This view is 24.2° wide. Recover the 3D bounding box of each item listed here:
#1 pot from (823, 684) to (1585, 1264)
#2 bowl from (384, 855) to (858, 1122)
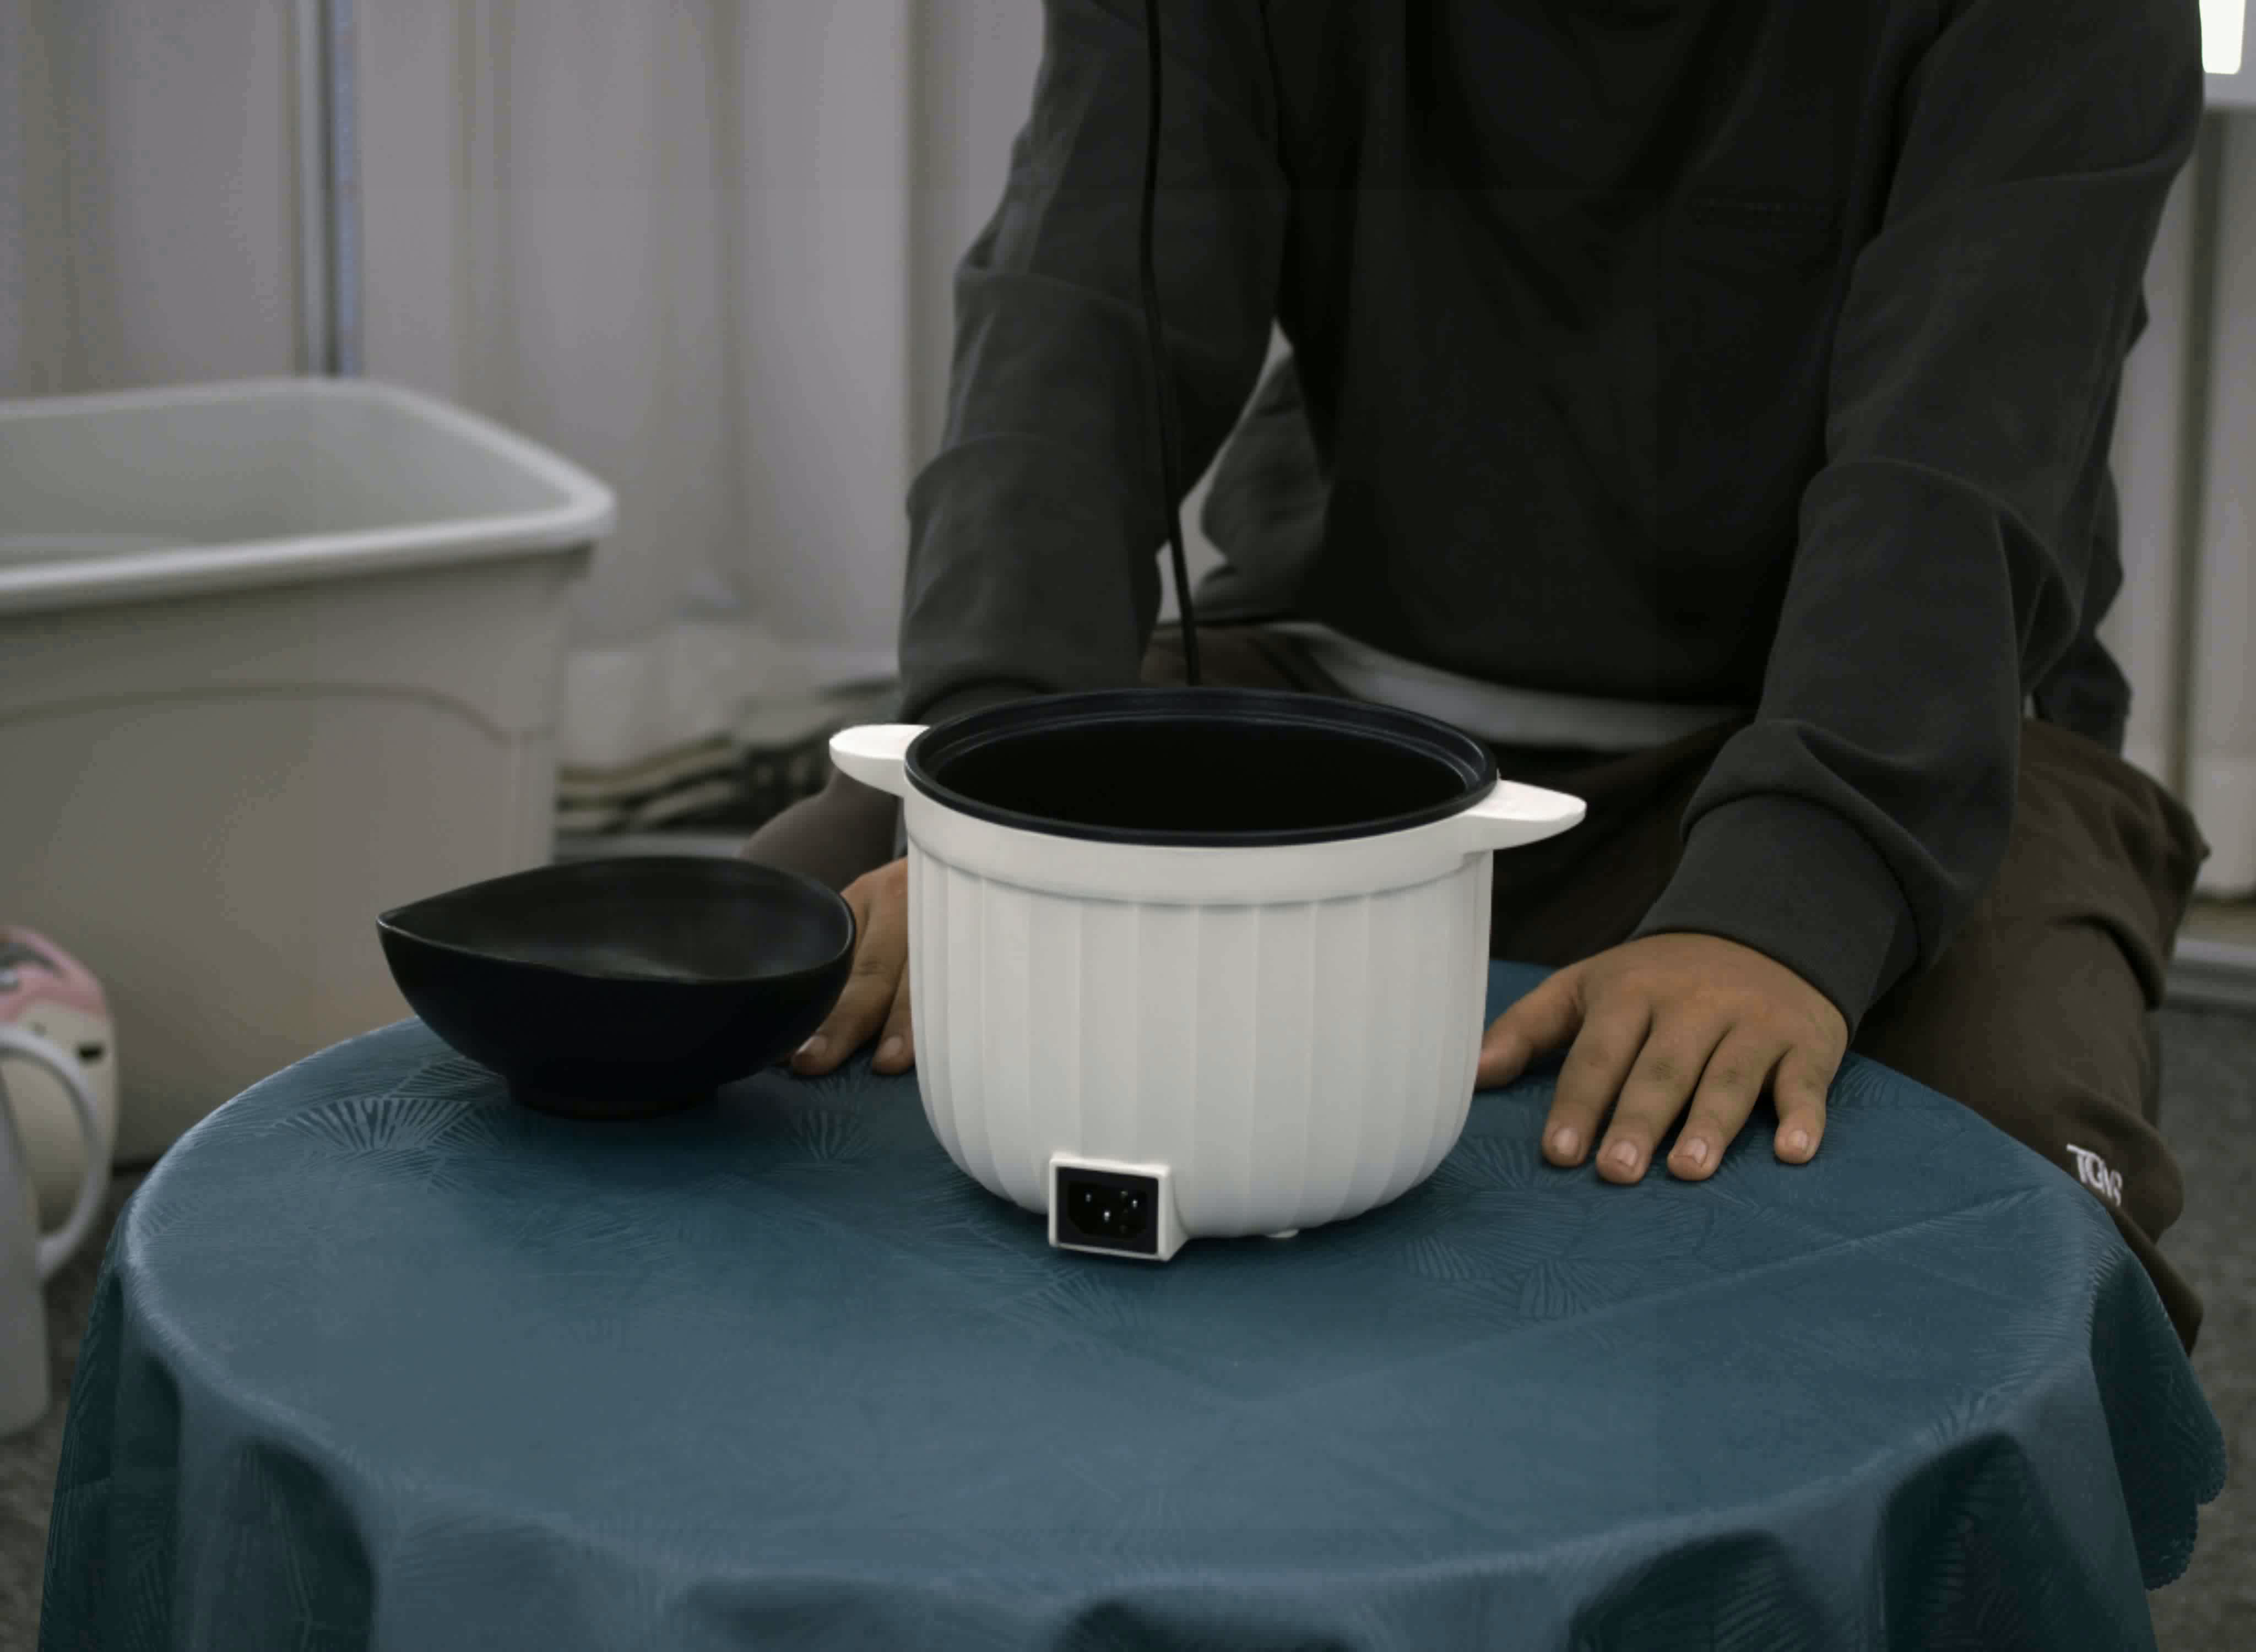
[{"bbox_3d":[0.021,0.042,1.624,0.238,0.144,0.190,6,20,16],"label":"pot"},{"bbox_3d":[-0.165,0.056,1.702,0.168,0.067,0.138,10,17,34],"label":"bowl"}]
